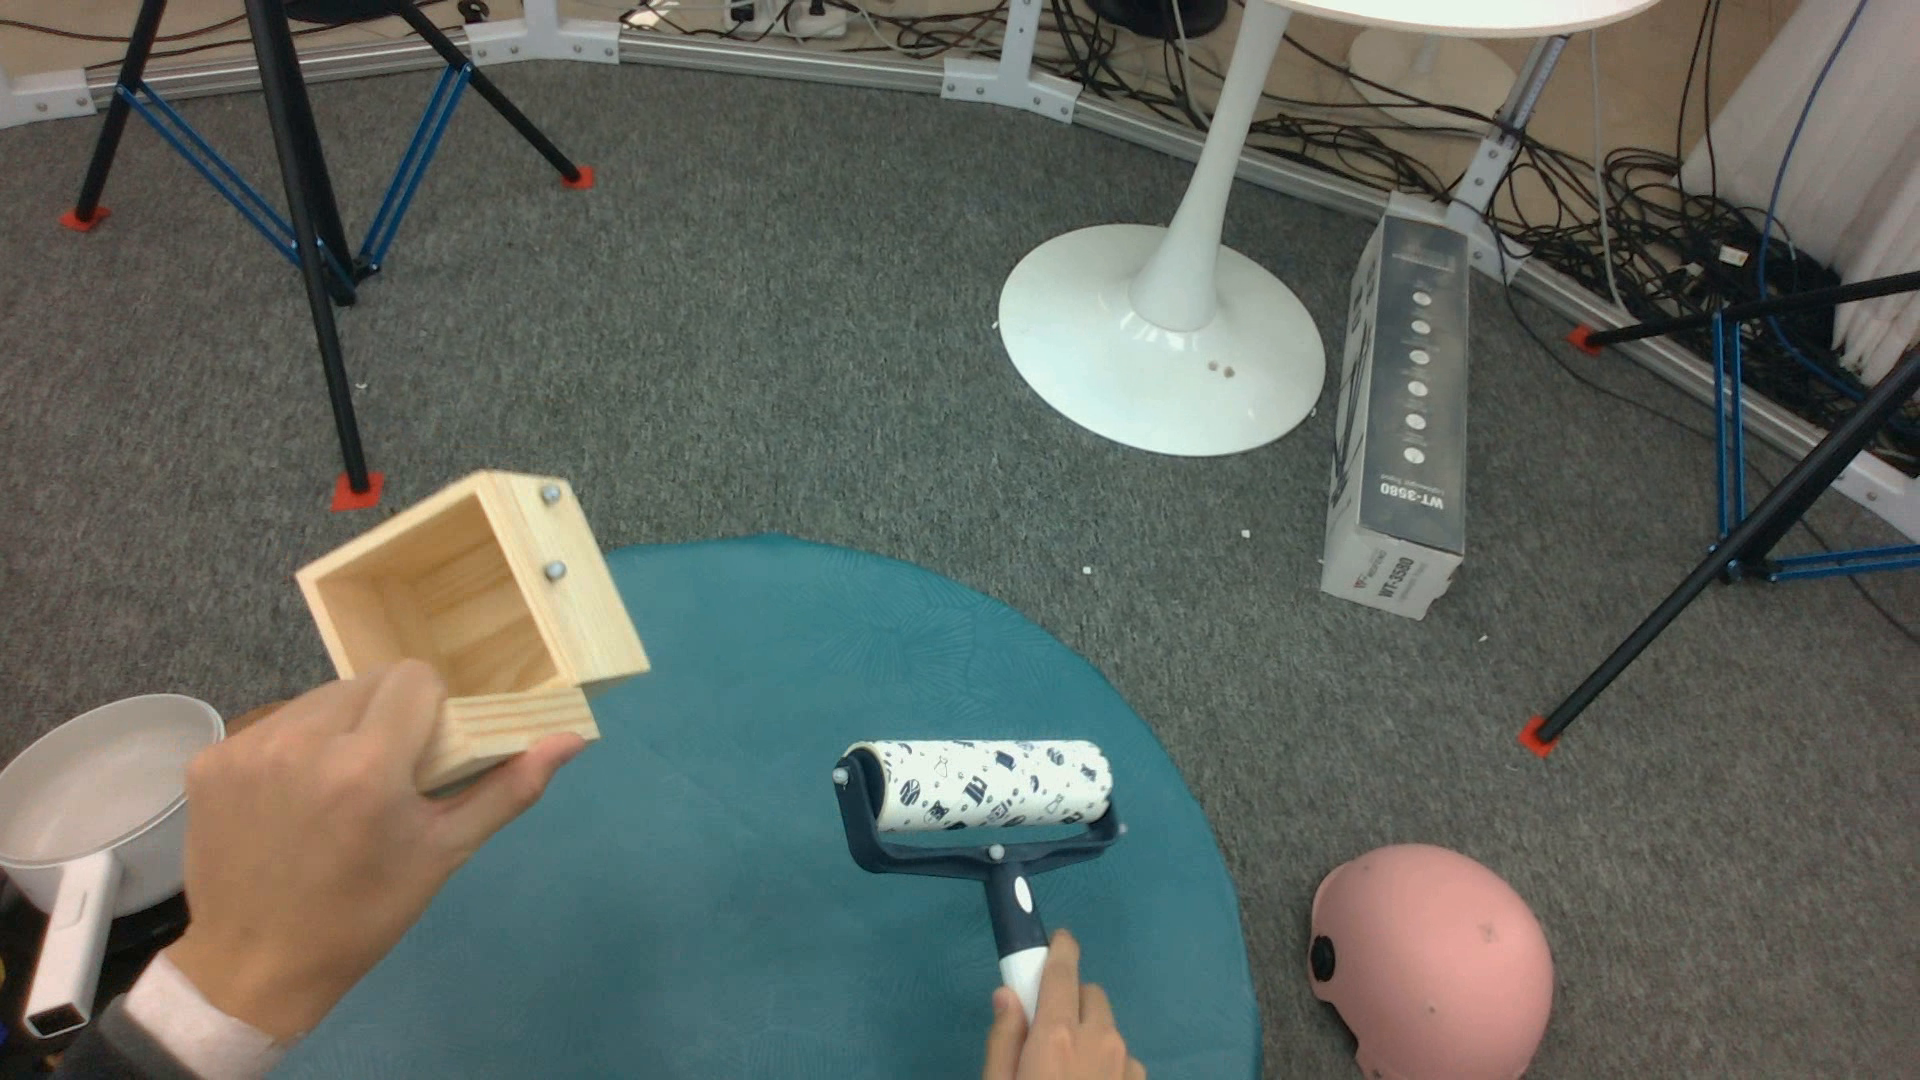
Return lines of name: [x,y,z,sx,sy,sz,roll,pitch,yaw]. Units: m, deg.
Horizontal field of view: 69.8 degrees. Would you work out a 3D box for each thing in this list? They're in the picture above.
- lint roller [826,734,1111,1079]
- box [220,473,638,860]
lint roller: [0.033,0.216,0.707,0.176,0.050,0.248,7,55,-39]
box: [-0.232,0.044,0.593,0.102,0.184,0.134,-27,84,7]
